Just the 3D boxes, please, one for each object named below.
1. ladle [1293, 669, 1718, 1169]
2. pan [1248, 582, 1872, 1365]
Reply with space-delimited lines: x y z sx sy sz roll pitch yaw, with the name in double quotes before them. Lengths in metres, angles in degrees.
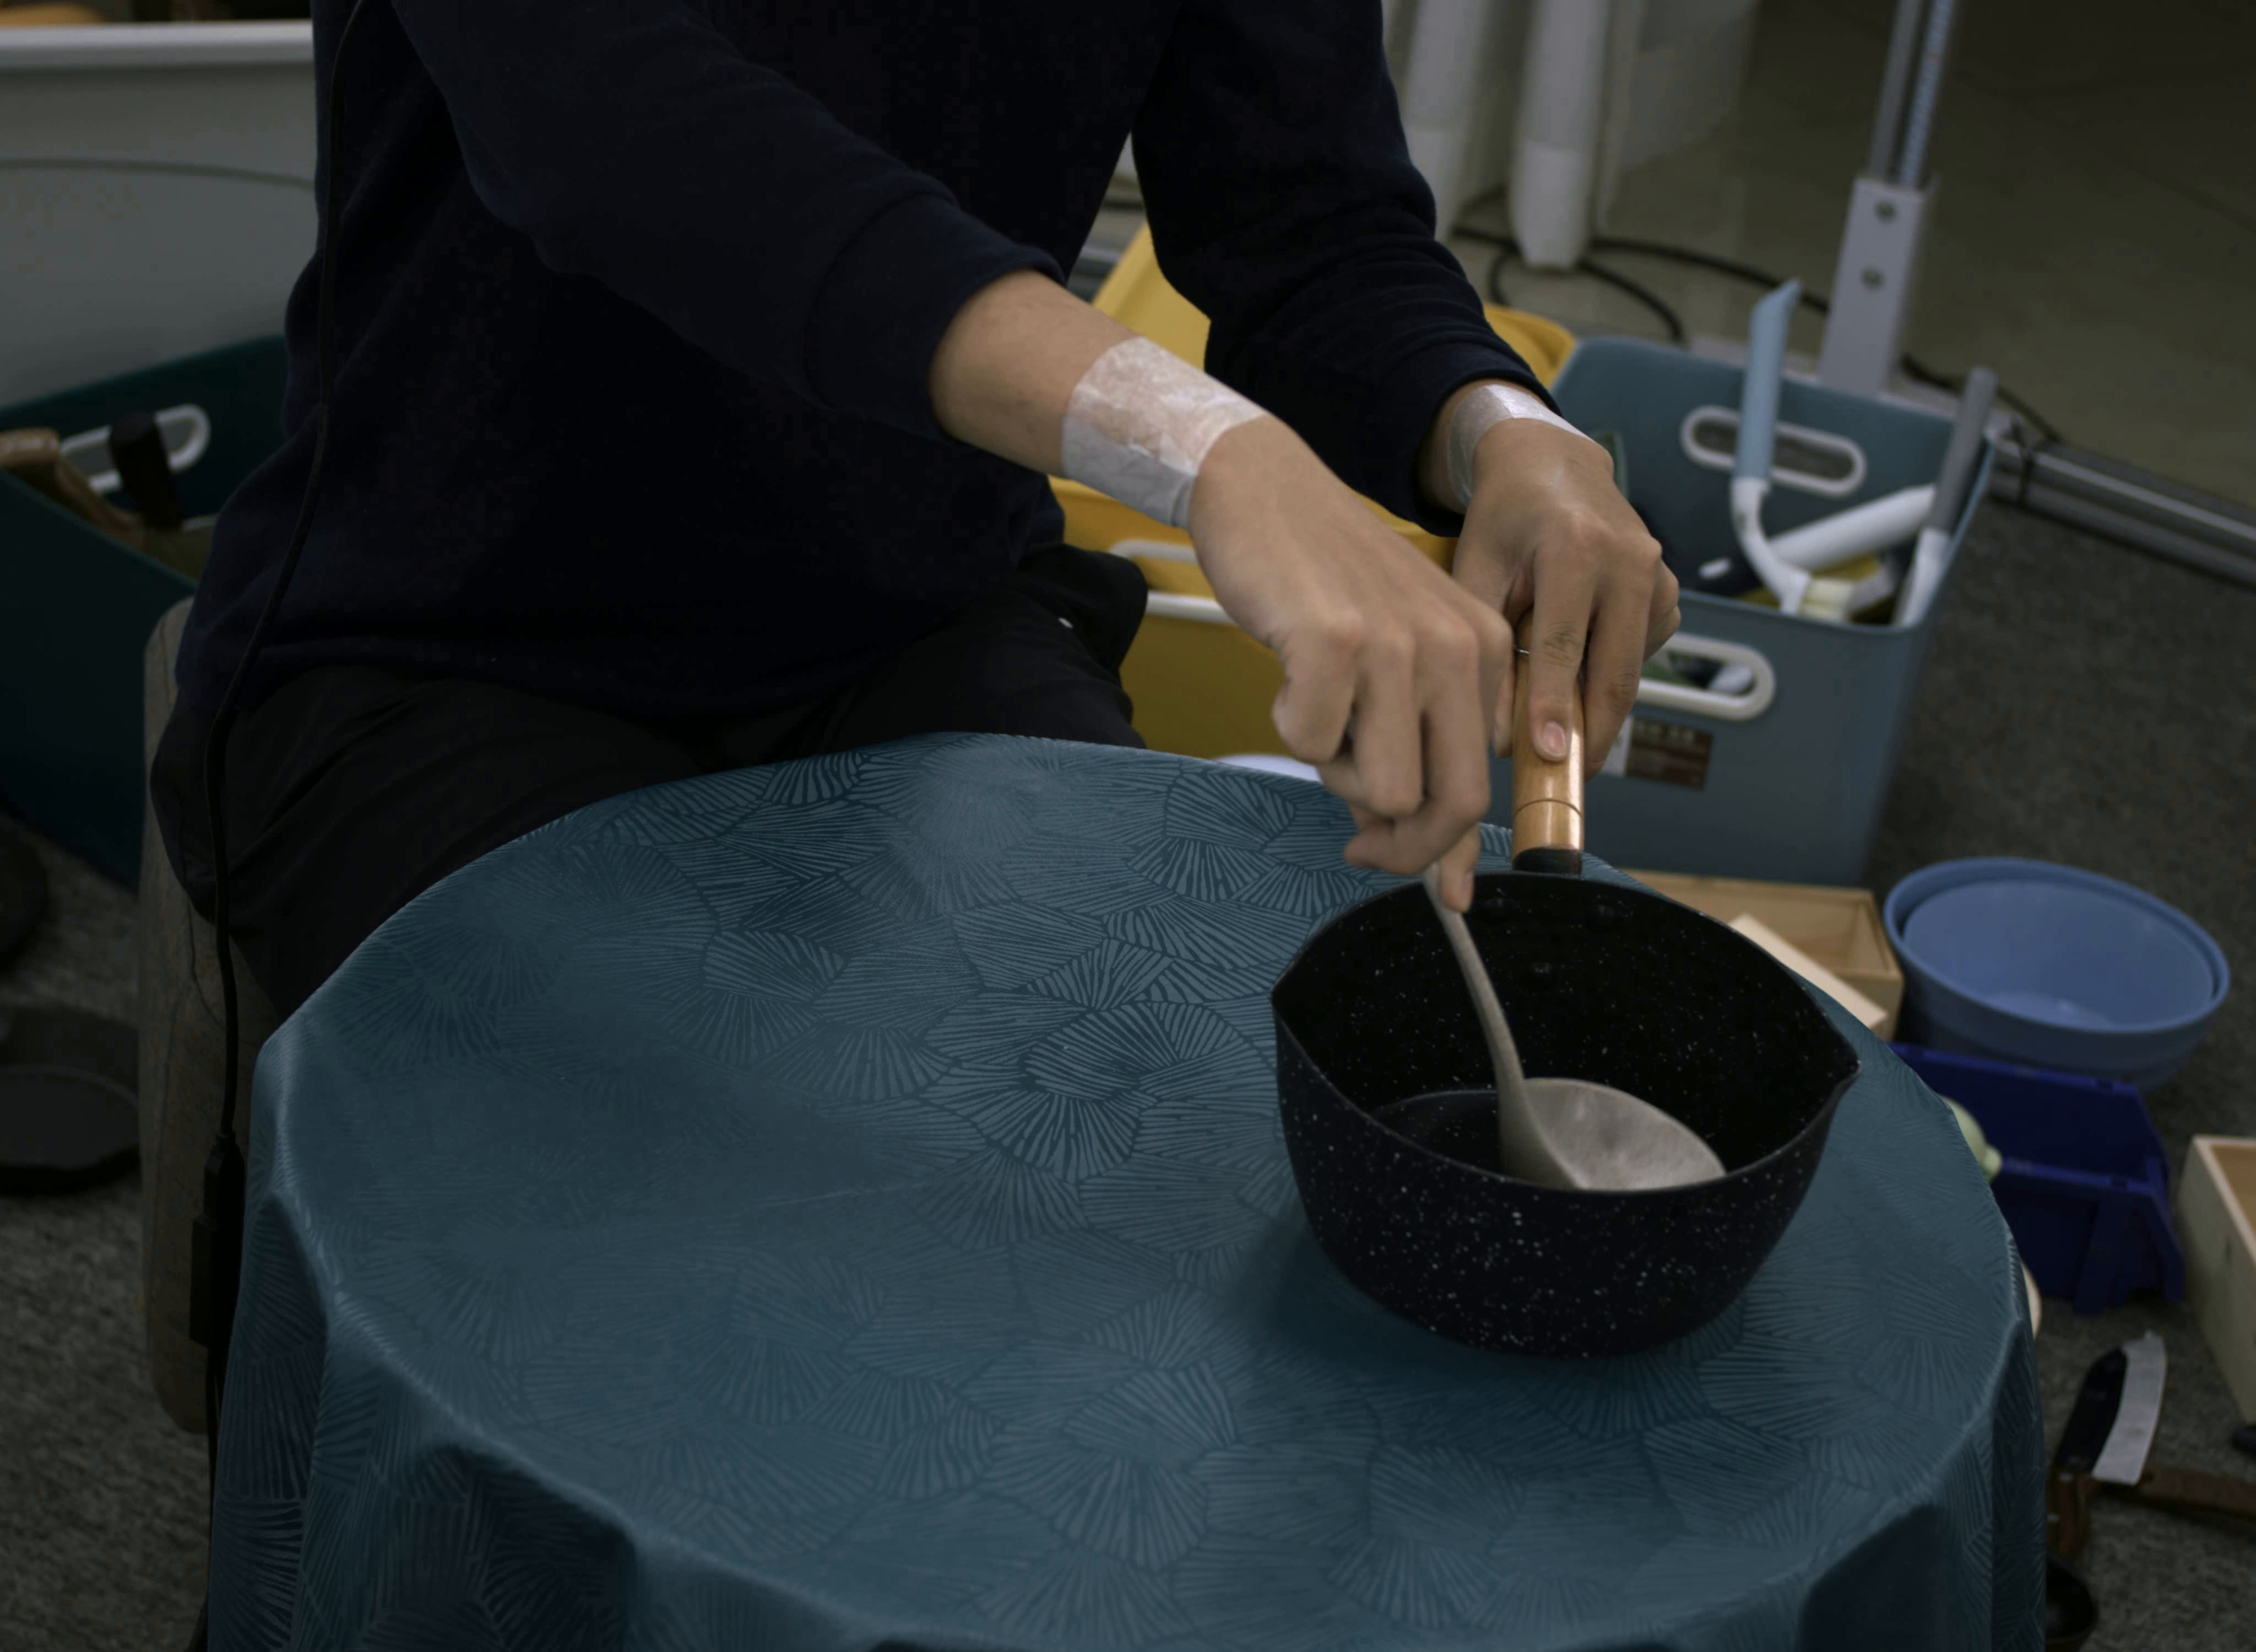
"ladle" 0.127 0.036 1.713 0.069 0.272 0.090 -25 39 1
"pan" 0.142 0.047 1.835 0.207 0.108 0.345 4 34 -1
